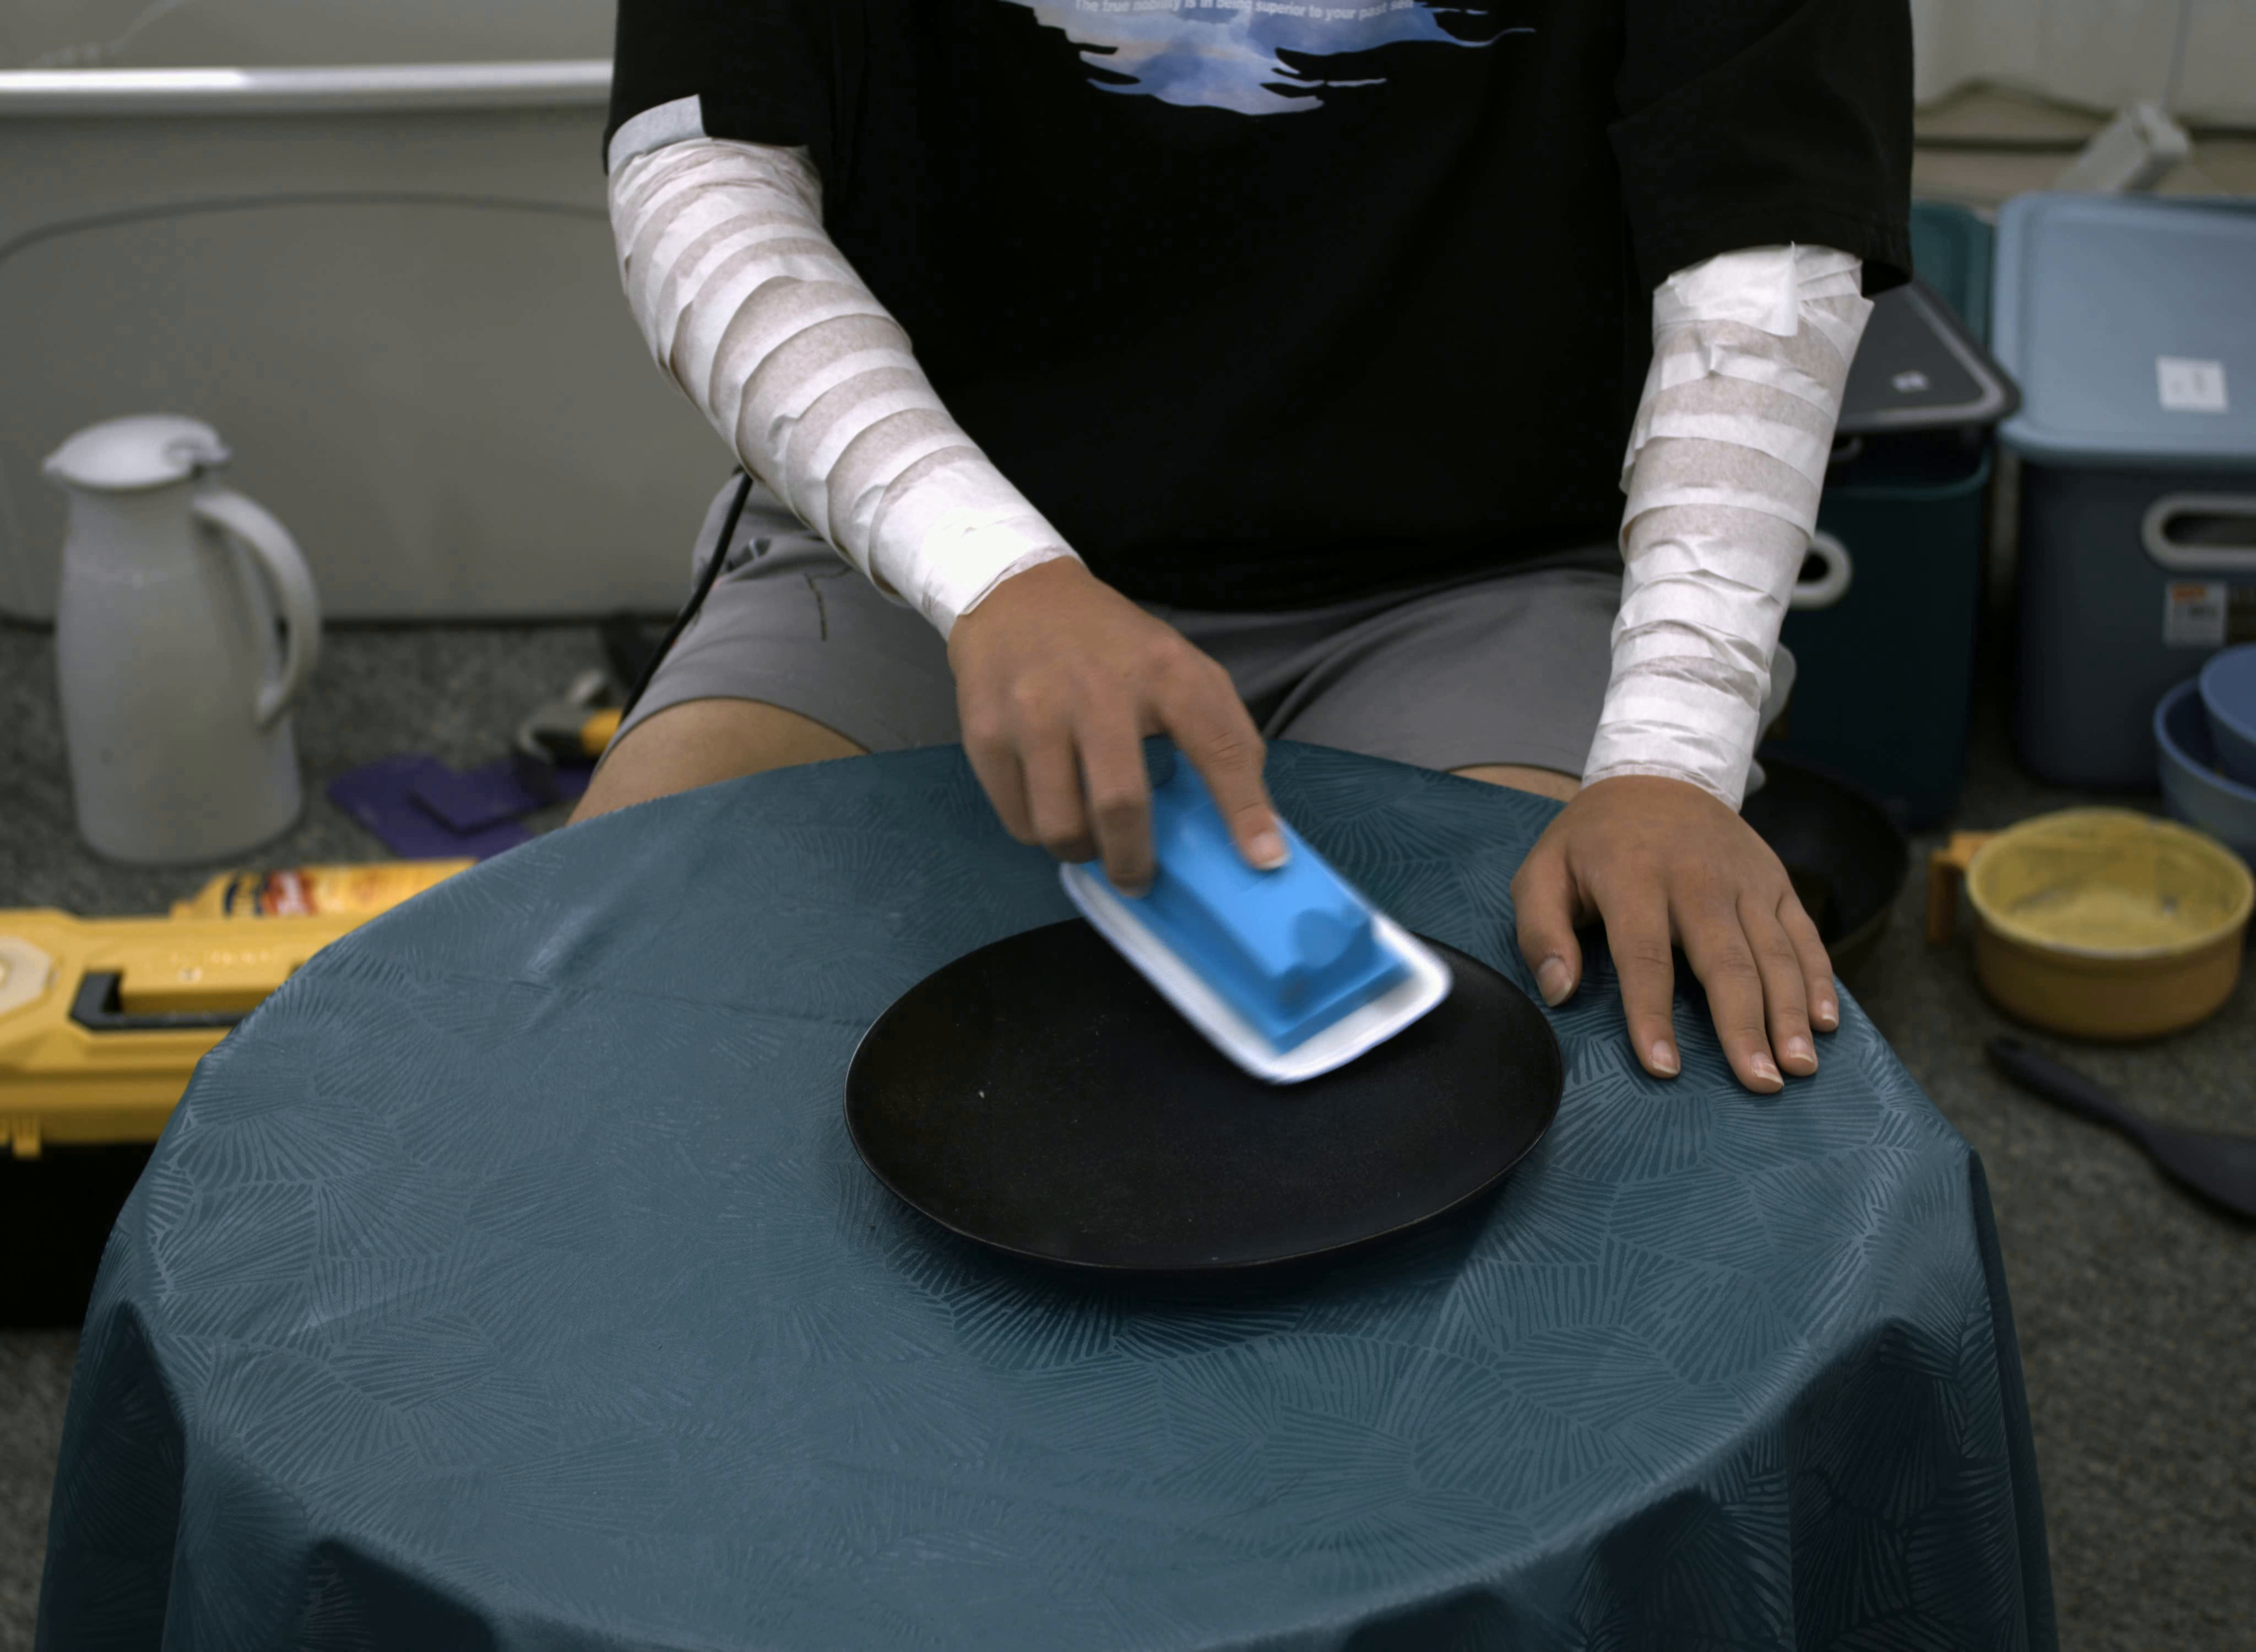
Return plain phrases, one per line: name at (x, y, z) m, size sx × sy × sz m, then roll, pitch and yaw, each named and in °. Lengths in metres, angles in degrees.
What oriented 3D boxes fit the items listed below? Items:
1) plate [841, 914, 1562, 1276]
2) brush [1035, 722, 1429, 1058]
plate at (0.025, 0.092, 1.890) m, size 0.243 × 0.023 × 0.248 m, roll -2°, pitch 27°, yaw 2°
brush at (0.037, 0.015, 1.941) m, size 0.084 × 0.055 × 0.145 m, roll -28°, pitch 53°, yaw -27°
